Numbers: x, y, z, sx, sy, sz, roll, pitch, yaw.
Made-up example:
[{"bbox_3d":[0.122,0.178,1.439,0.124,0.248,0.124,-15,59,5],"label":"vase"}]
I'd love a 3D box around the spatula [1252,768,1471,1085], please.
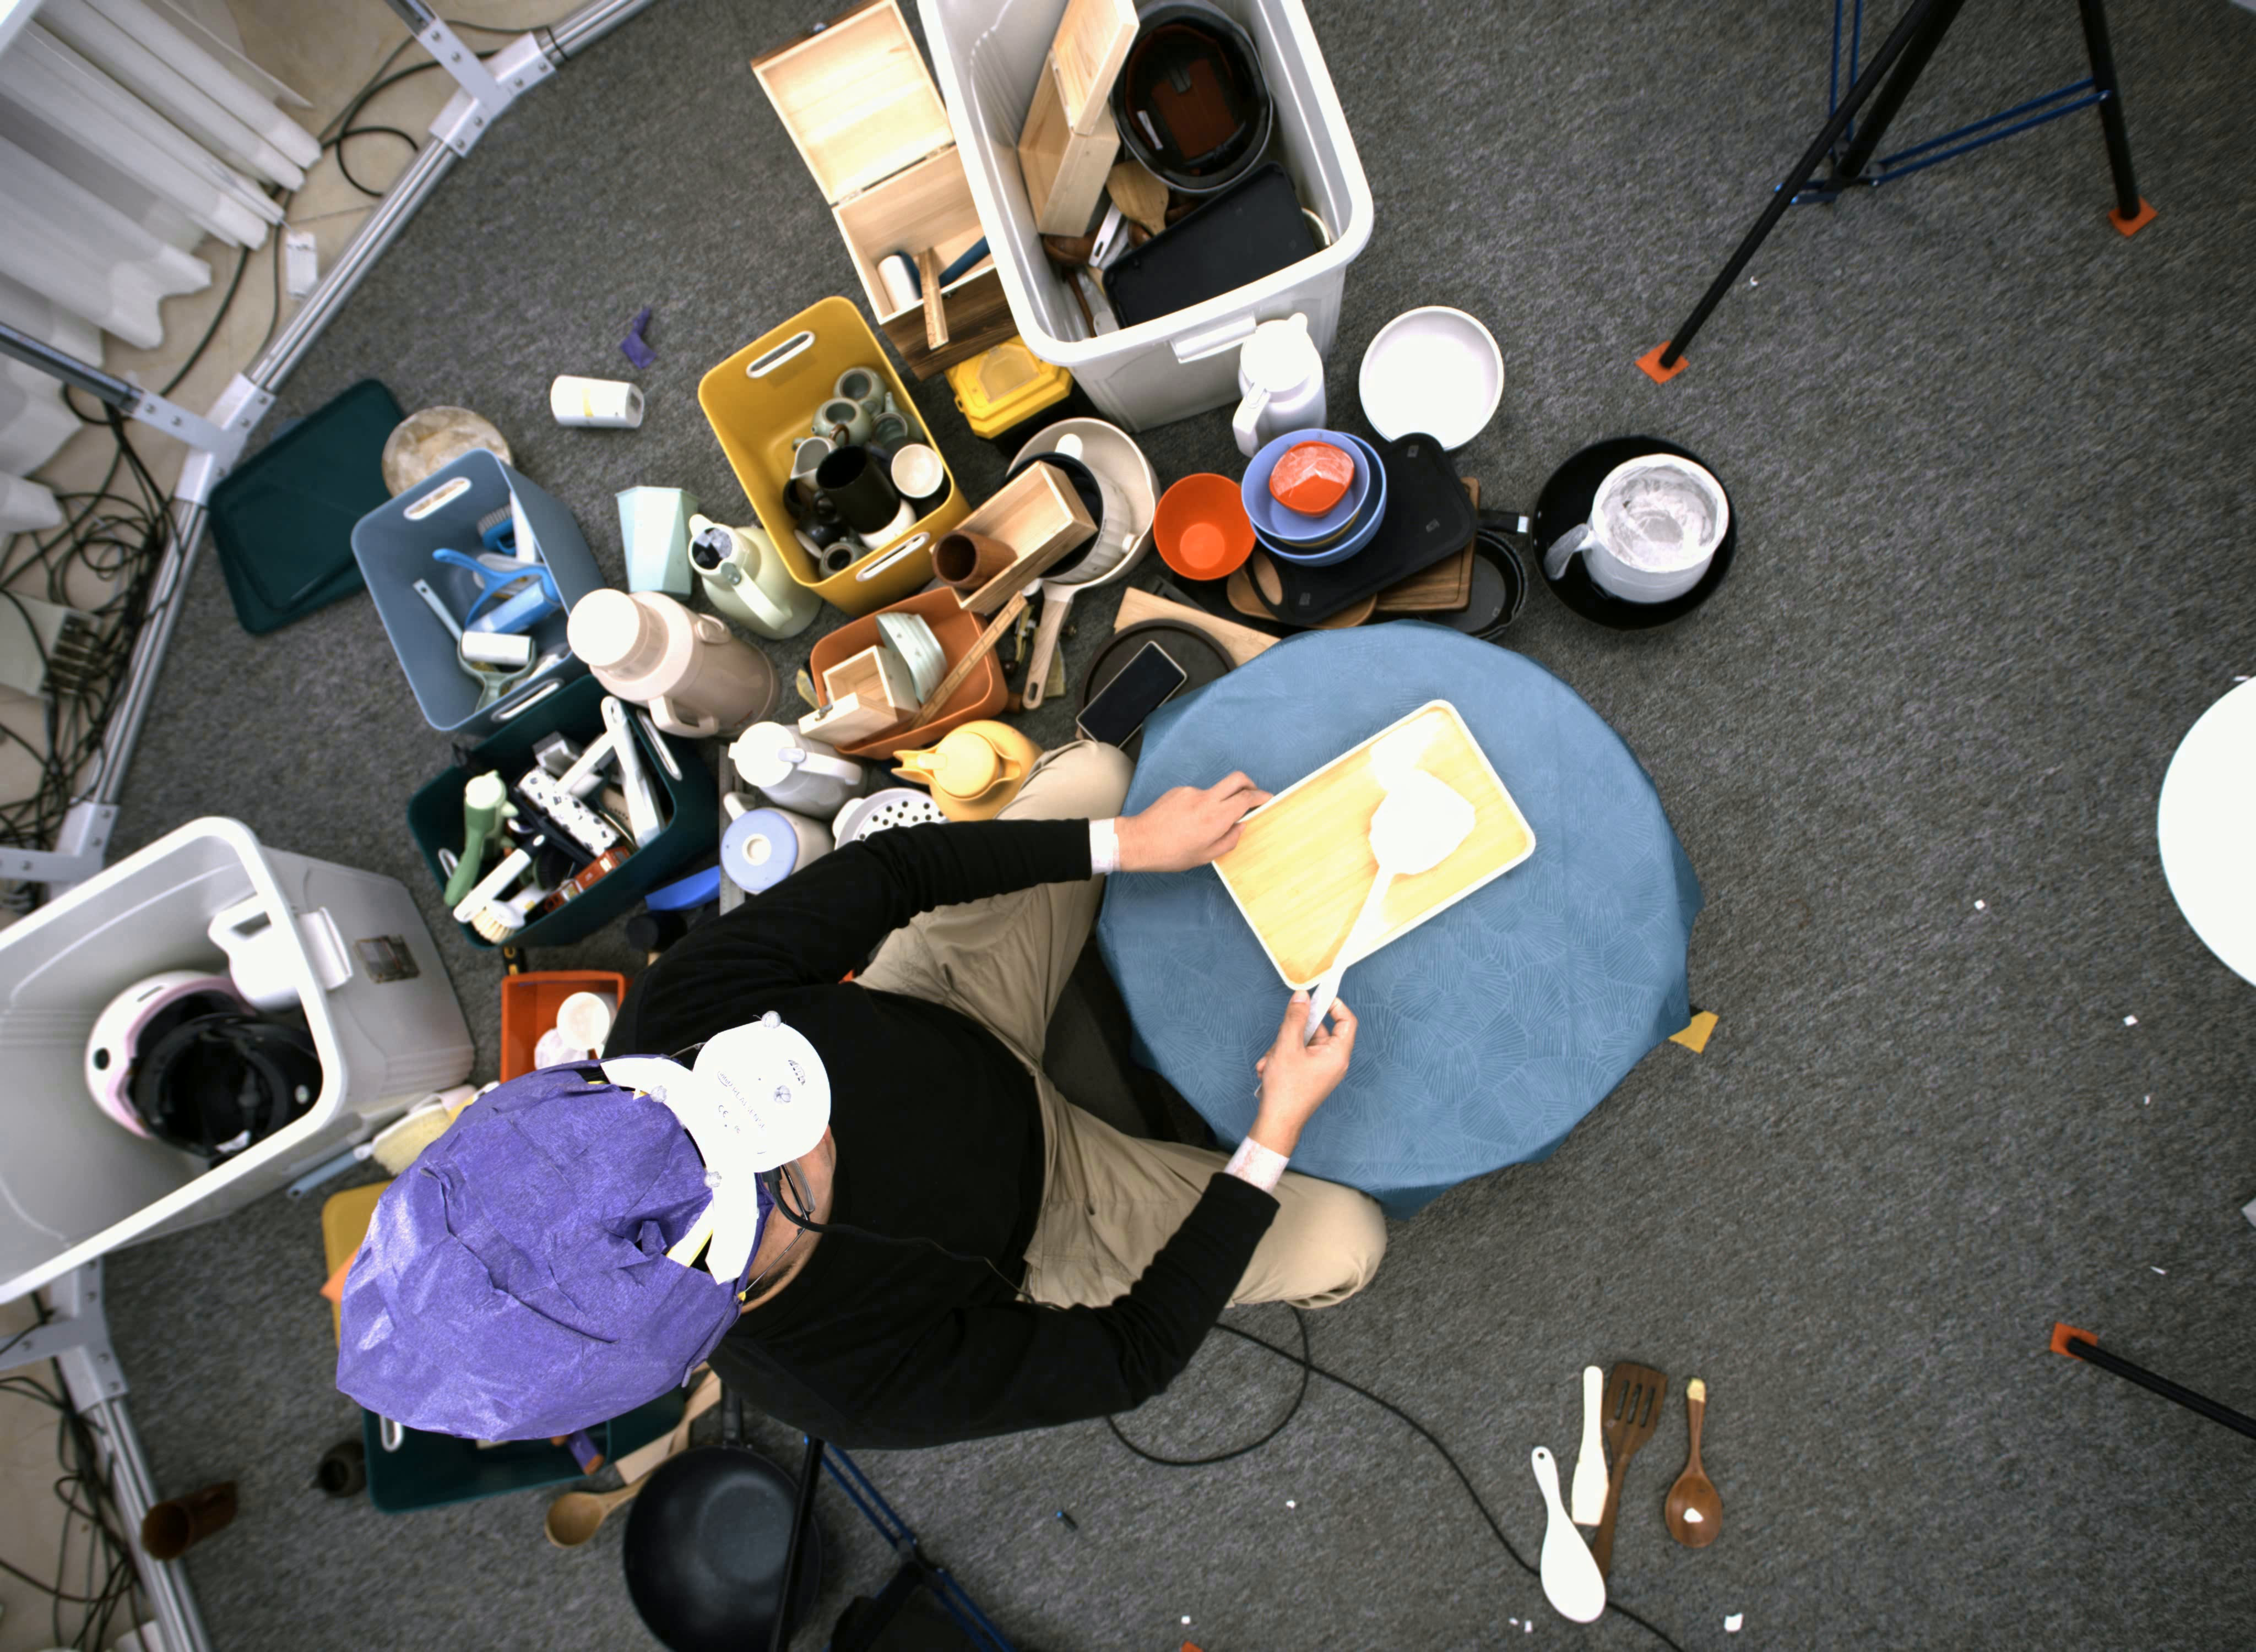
[{"bbox_3d":[0.228,0.108,1.392,0.099,0.045,0.361,34,78,-14],"label":"spatula"}]

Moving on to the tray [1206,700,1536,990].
[{"bbox_3d":[0.252,0.019,1.443,0.302,0.027,0.191,-31,88,7],"label":"tray"}]
